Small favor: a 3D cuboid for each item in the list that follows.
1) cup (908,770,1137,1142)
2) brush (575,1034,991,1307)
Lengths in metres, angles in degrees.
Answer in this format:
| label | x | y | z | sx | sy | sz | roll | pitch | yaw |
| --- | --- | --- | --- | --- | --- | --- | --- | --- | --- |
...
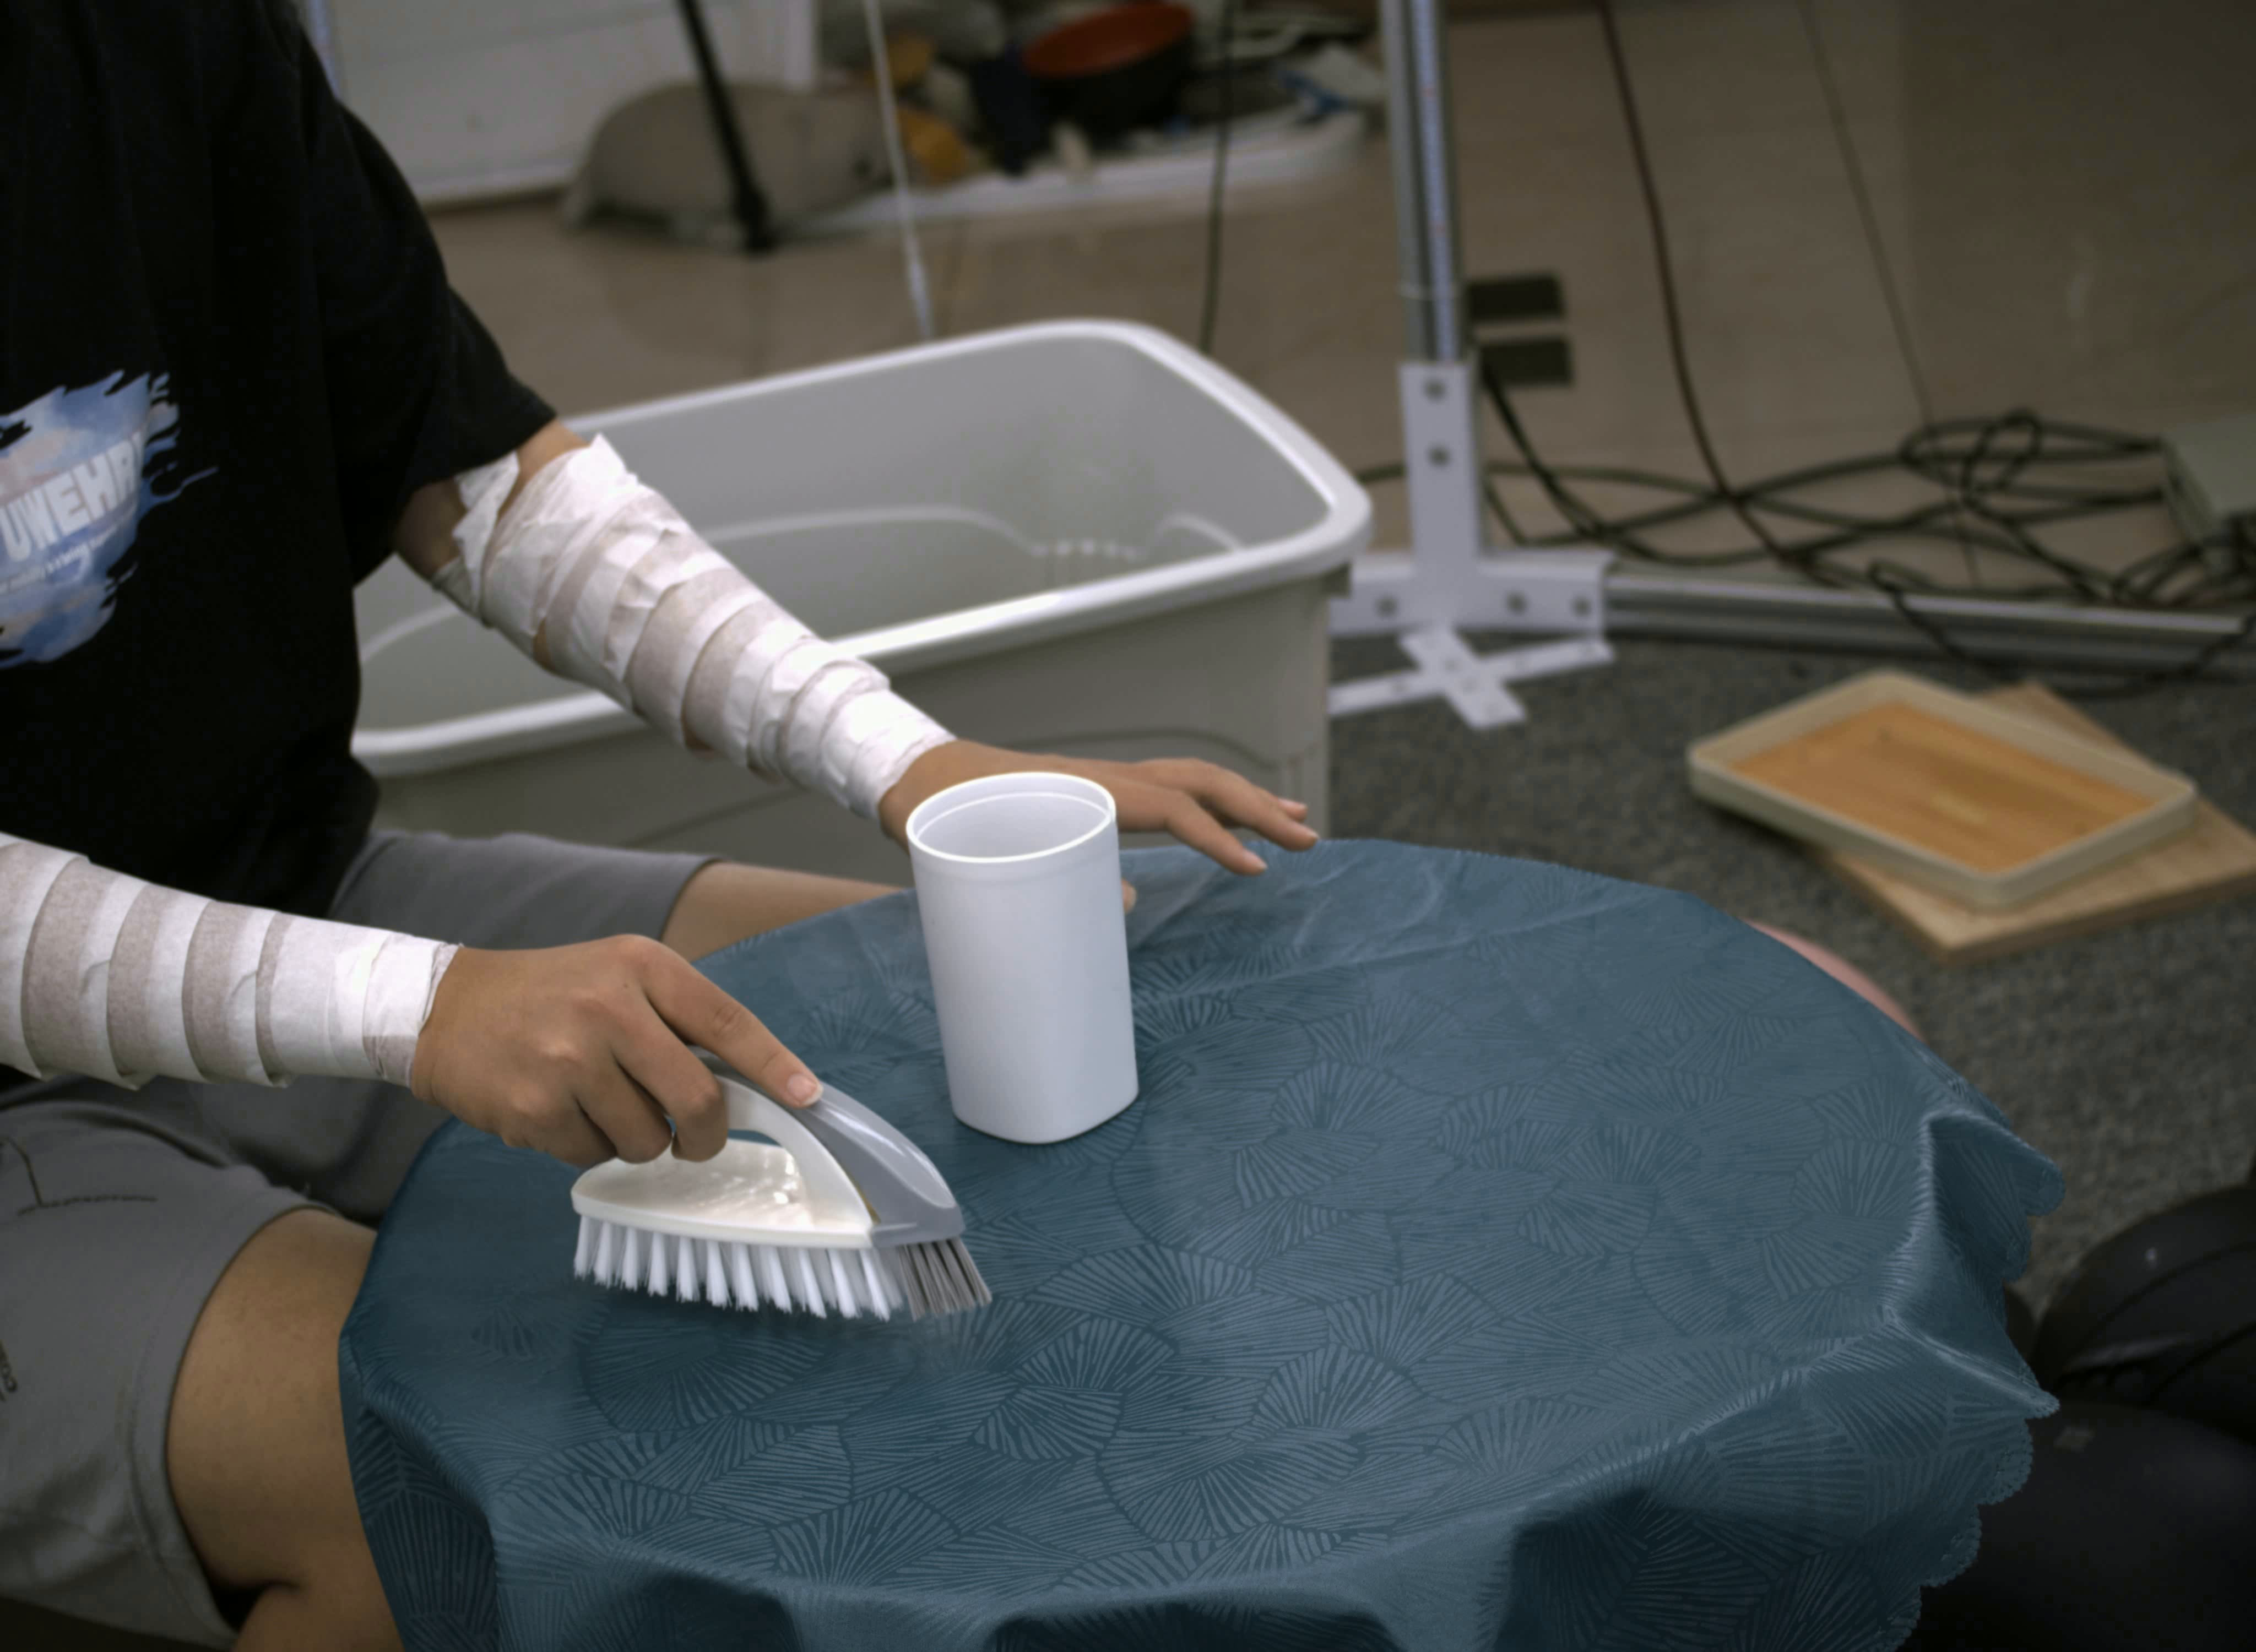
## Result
| label | x | y | z | sx | sy | sz | roll | pitch | yaw |
| --- | --- | --- | --- | --- | --- | --- | --- | --- | --- |
| cup | -0.038 | 0.051 | 2.196 | 0.081 | 0.127 | 0.080 | -5 | 27 | 2 |
| brush | -0.128 | 0.123 | 2.070 | 0.174 | 0.096 | 0.061 | 9 | 34 | 34 |
